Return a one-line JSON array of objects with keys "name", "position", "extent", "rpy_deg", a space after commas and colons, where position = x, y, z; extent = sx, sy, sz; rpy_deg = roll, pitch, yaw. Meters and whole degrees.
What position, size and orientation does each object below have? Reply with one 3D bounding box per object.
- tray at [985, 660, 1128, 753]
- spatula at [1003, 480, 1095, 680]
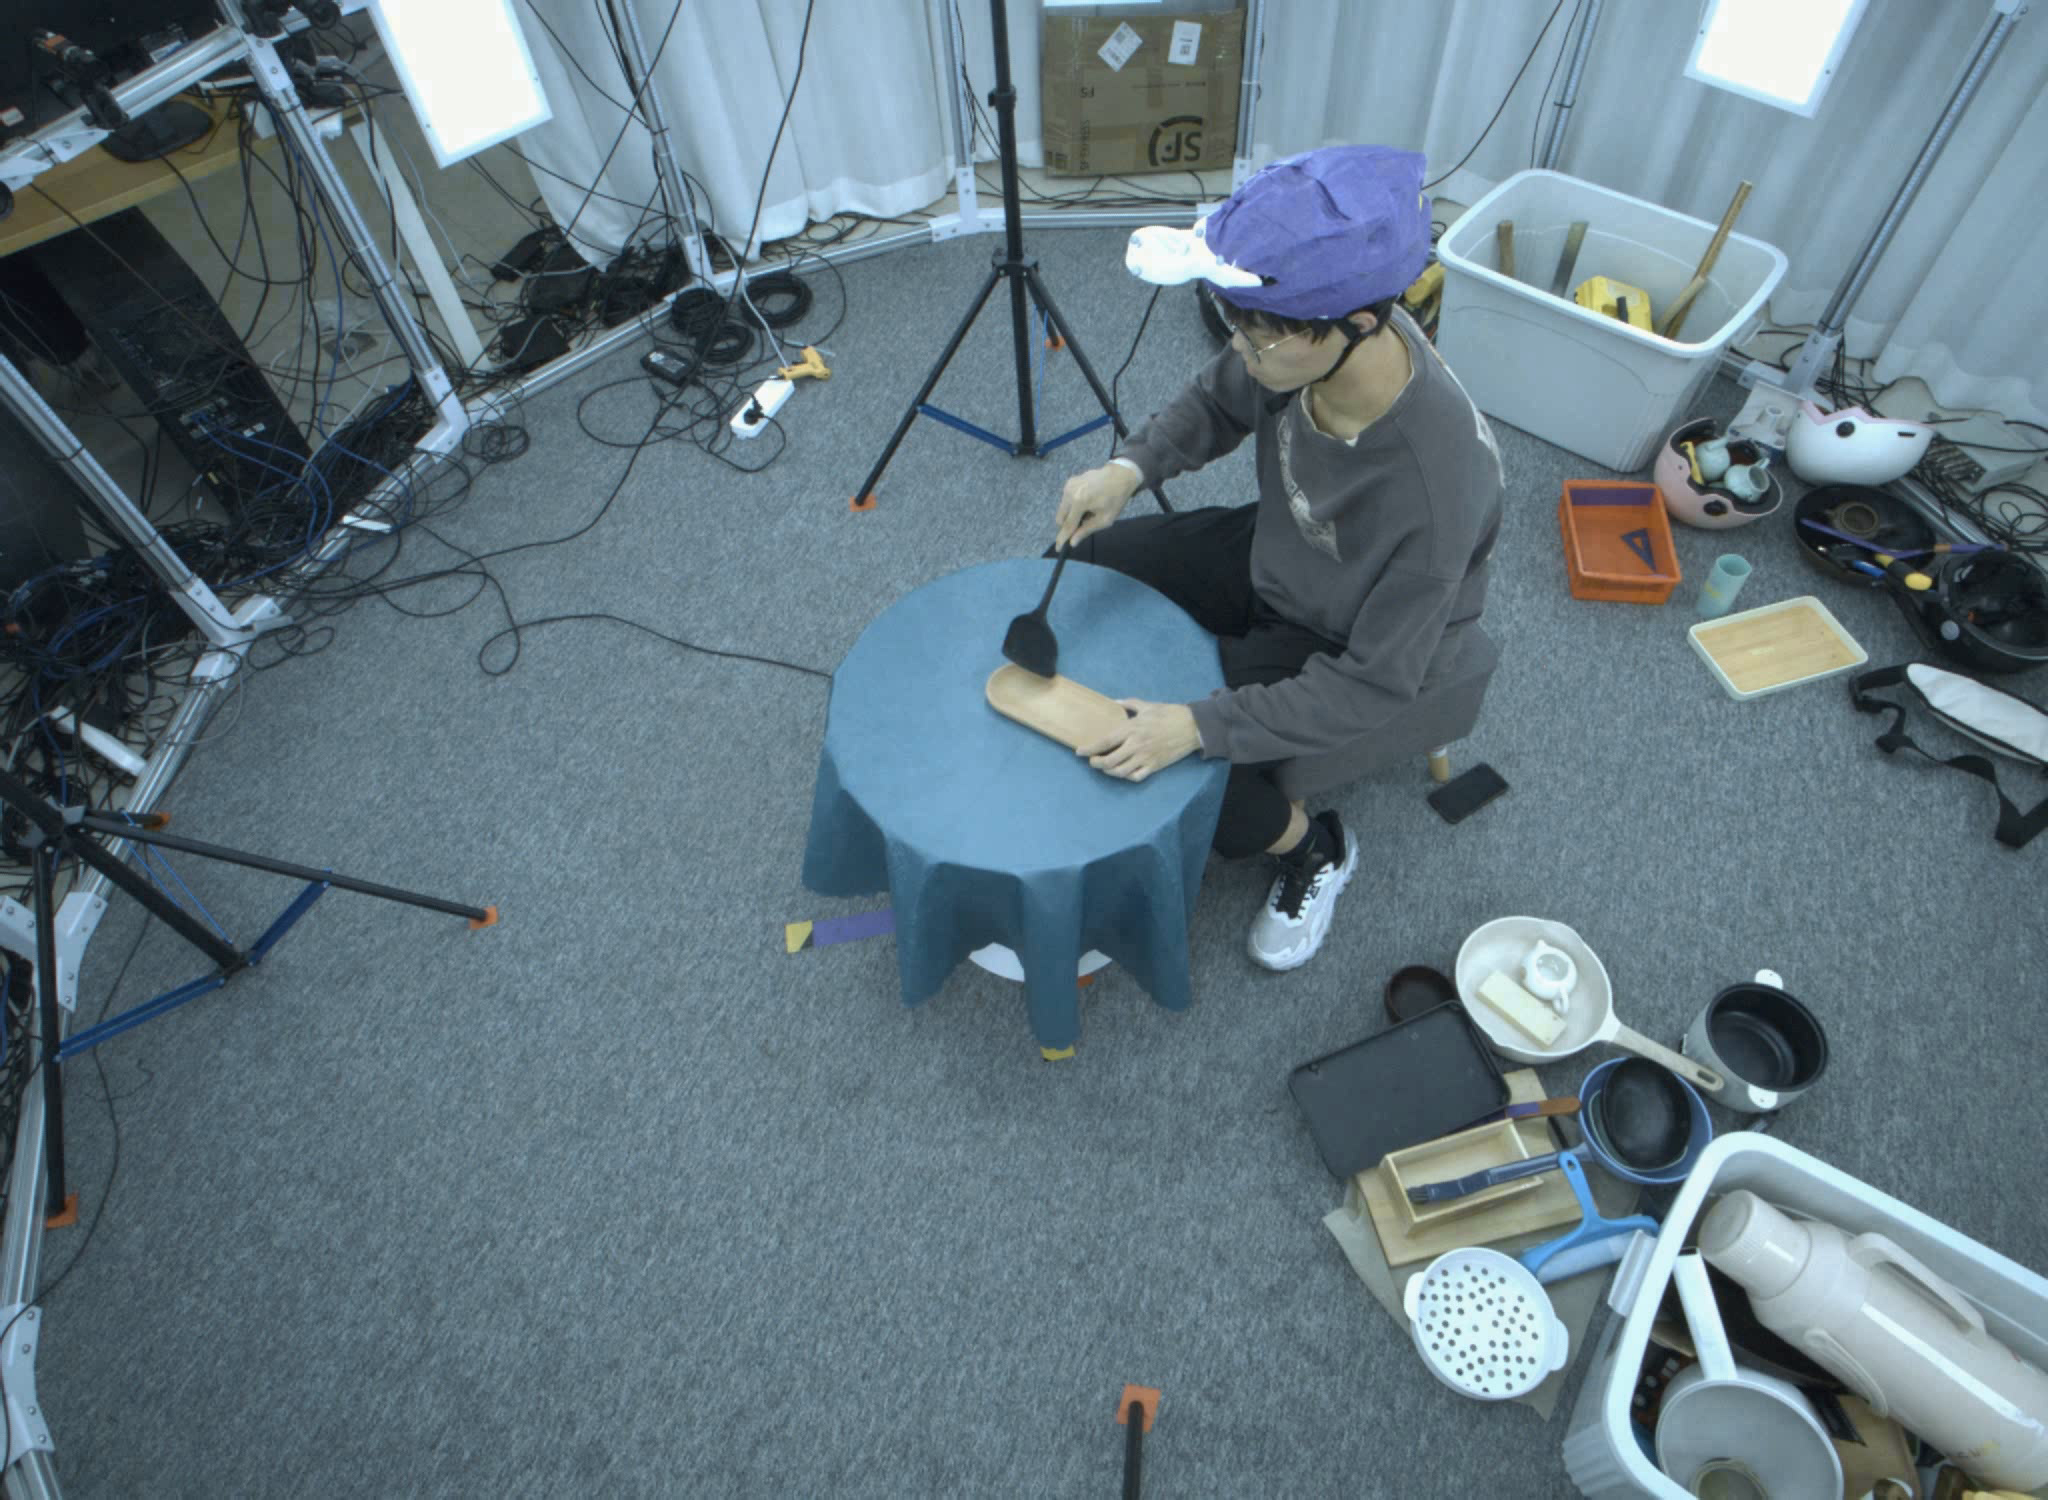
[{"name": "tray", "position": [0.047, -0.065, 1.820], "extent": [0.227, 0.020, 0.102], "rpy_deg": [26, 58, 21]}, {"name": "spatula", "position": [0.053, -0.266, 1.850], "extent": [0.102, 0.039, 0.326], "rpy_deg": [26, 79, -29]}]
